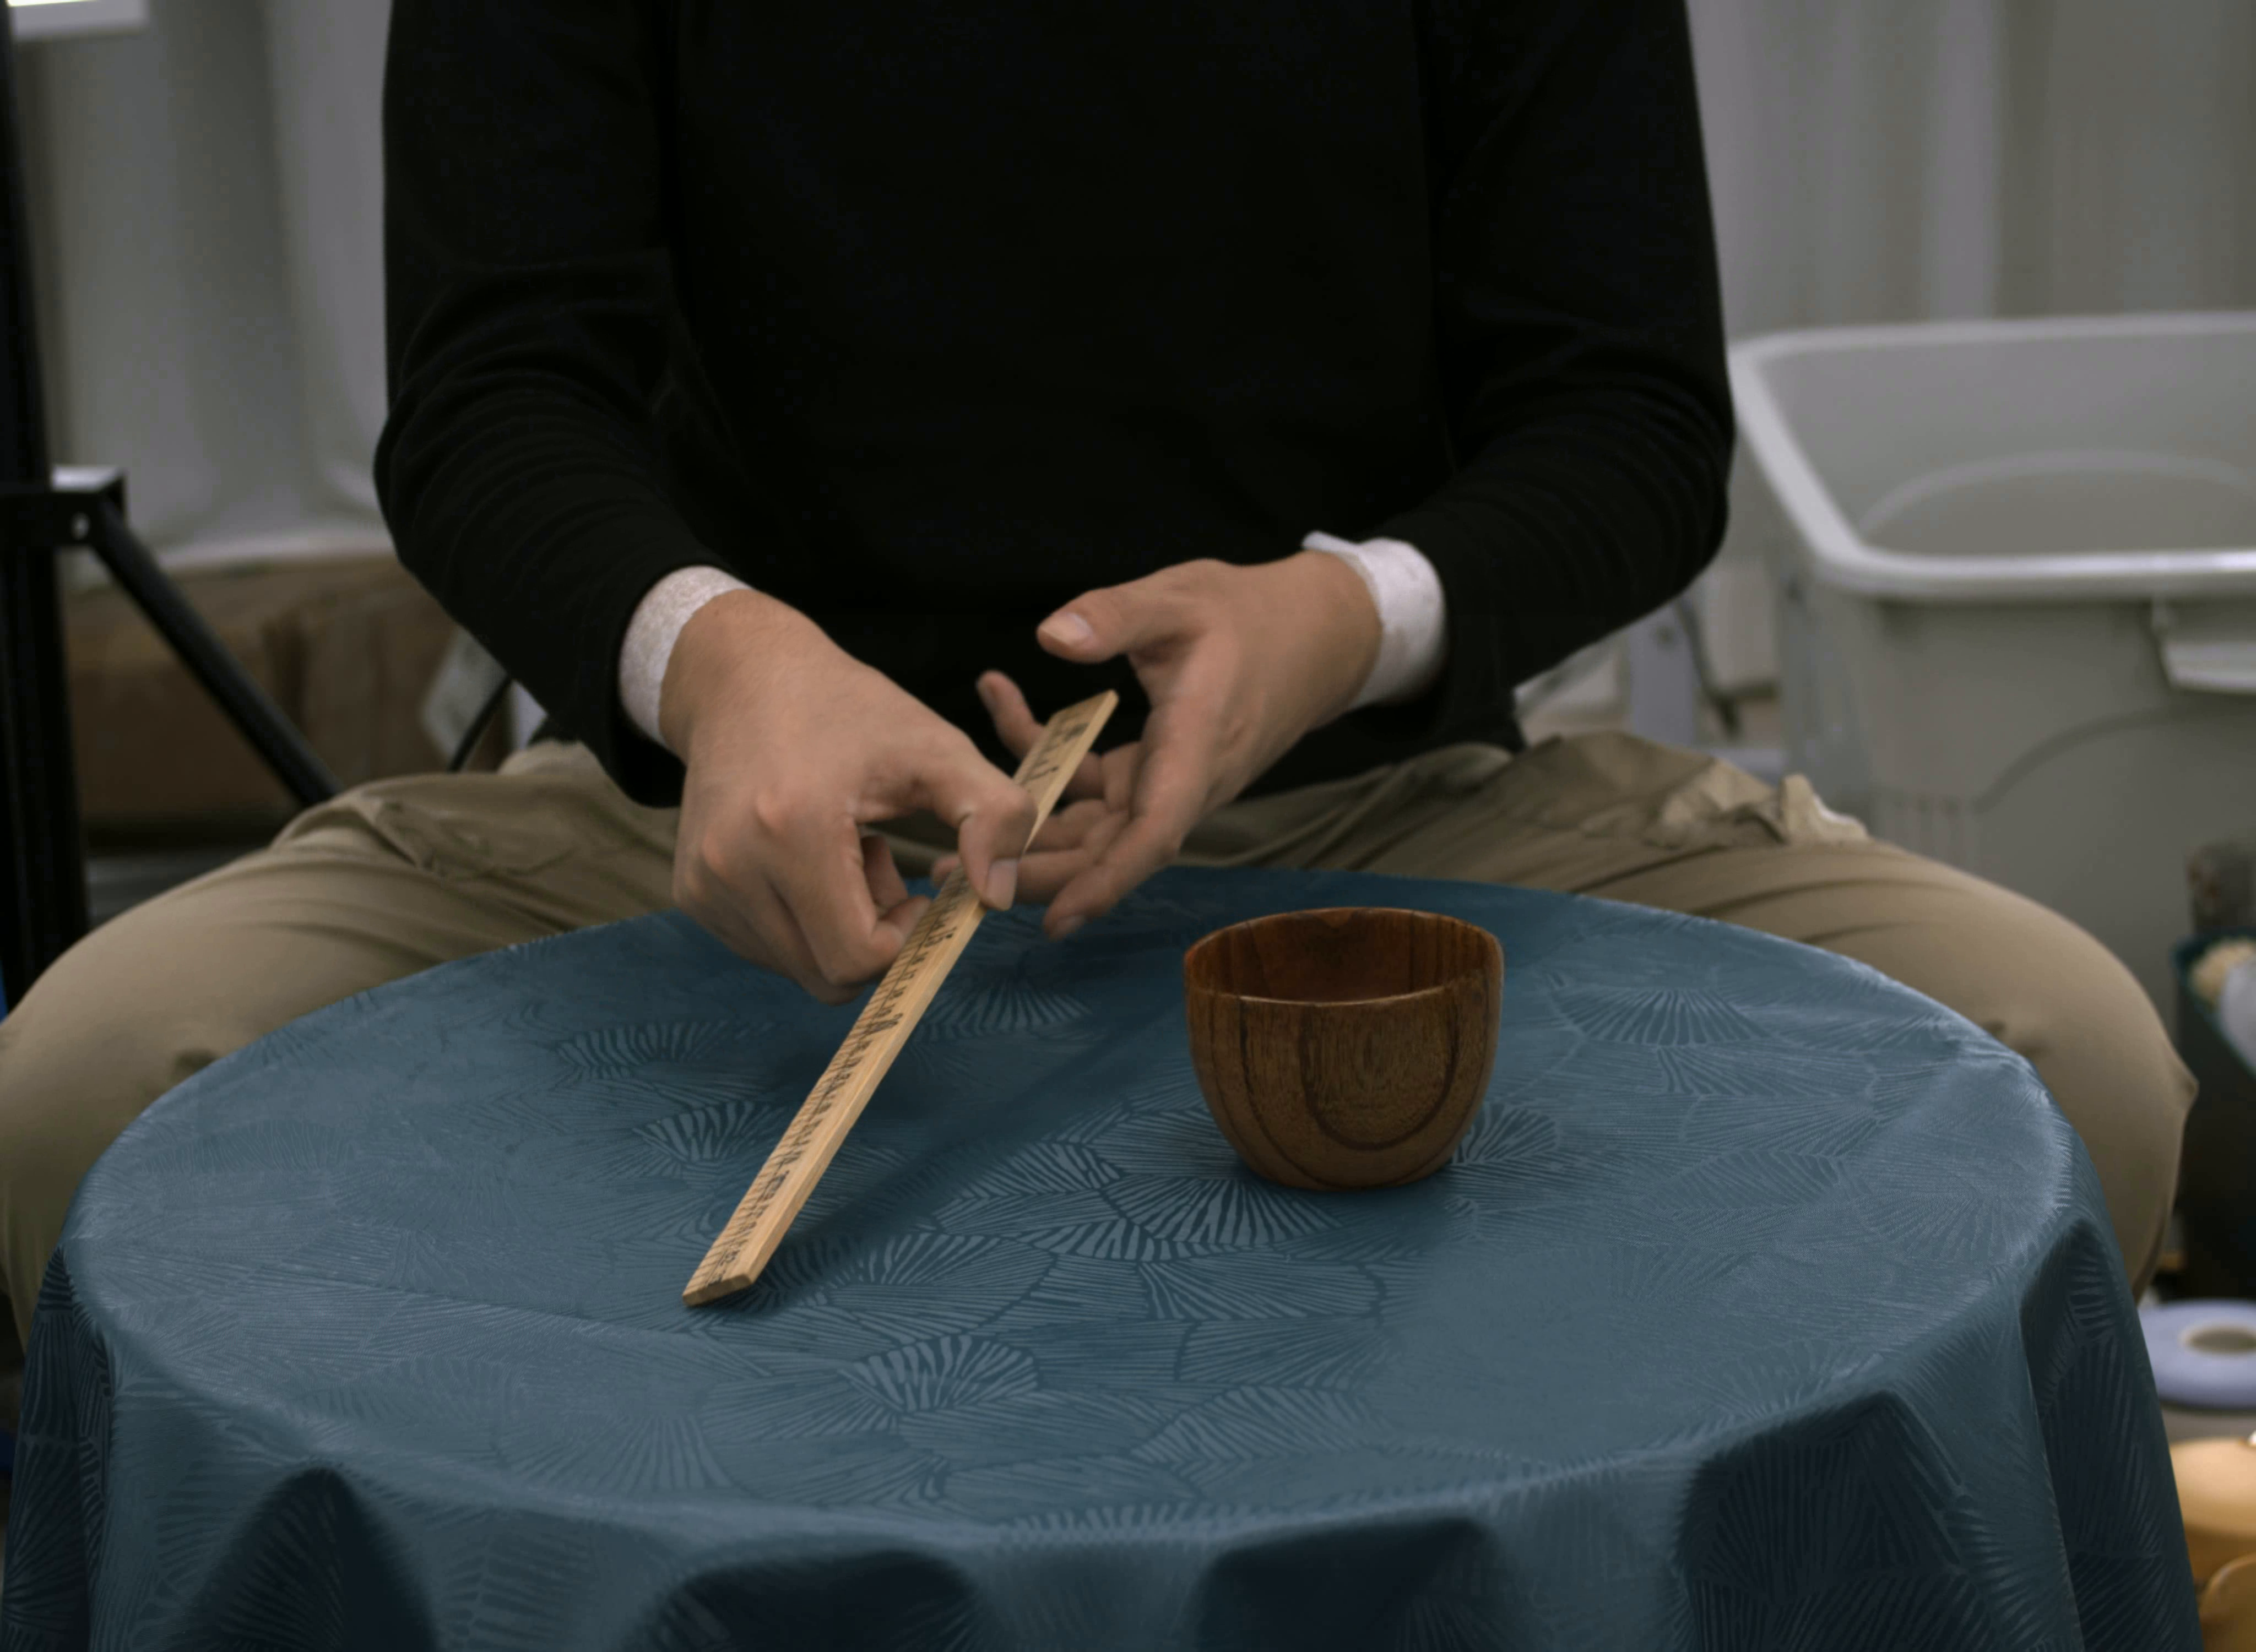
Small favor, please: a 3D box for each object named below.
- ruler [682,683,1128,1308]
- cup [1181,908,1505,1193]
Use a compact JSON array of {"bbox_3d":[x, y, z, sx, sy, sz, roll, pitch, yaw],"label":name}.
[{"bbox_3d":[-0.064,0.042,1.610,0.028,0.022,0.330,-16,25,30],"label":"ruler"},{"bbox_3d":[0.065,0.065,1.580,0.096,0.068,0.120,-4,14,1],"label":"cup"}]
